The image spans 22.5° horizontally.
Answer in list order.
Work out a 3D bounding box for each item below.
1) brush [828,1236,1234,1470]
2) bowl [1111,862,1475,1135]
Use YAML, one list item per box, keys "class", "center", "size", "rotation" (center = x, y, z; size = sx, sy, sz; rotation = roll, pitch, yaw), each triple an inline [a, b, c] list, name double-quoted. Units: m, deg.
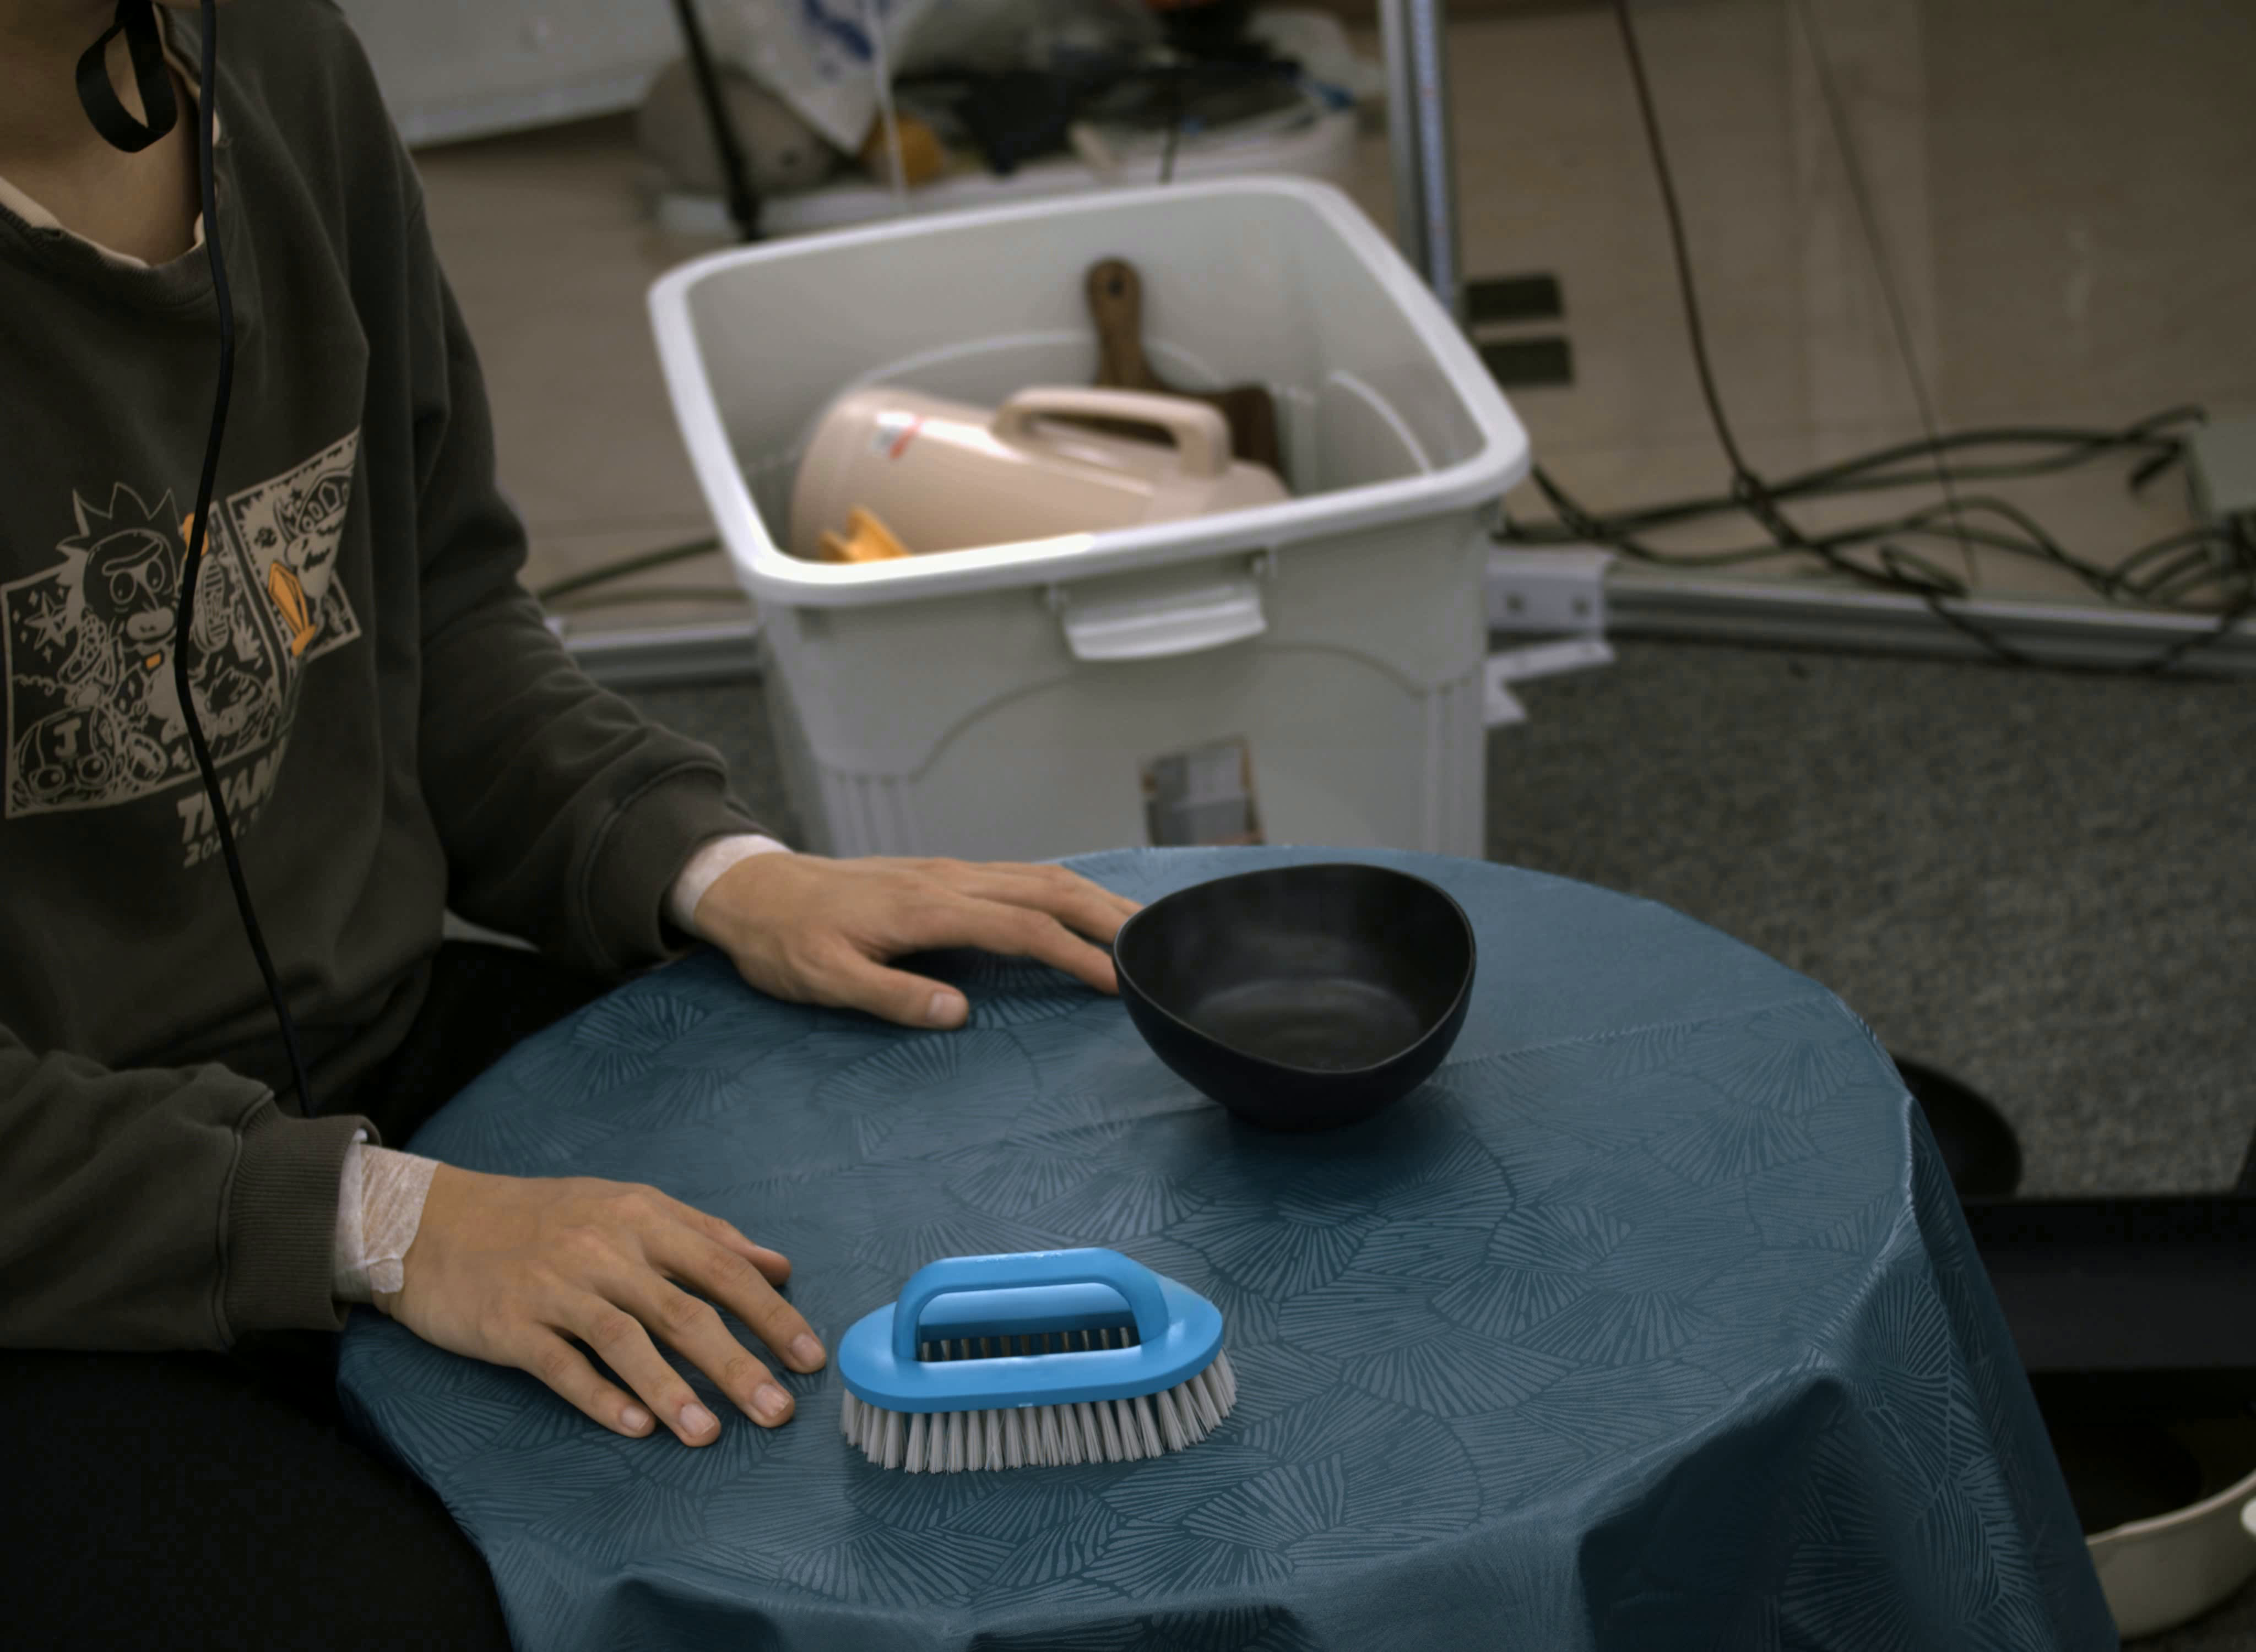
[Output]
- class: "brush"
  center: [-0.036, 0.177, 1.996]
  size: [0.141, 0.065, 0.083]
  rotation: [-4, 30, 7]
- class: "bowl"
  center: [0.068, 0.074, 2.193]
  size: [0.137, 0.068, 0.168]
  rotation: [-14, 28, -15]
